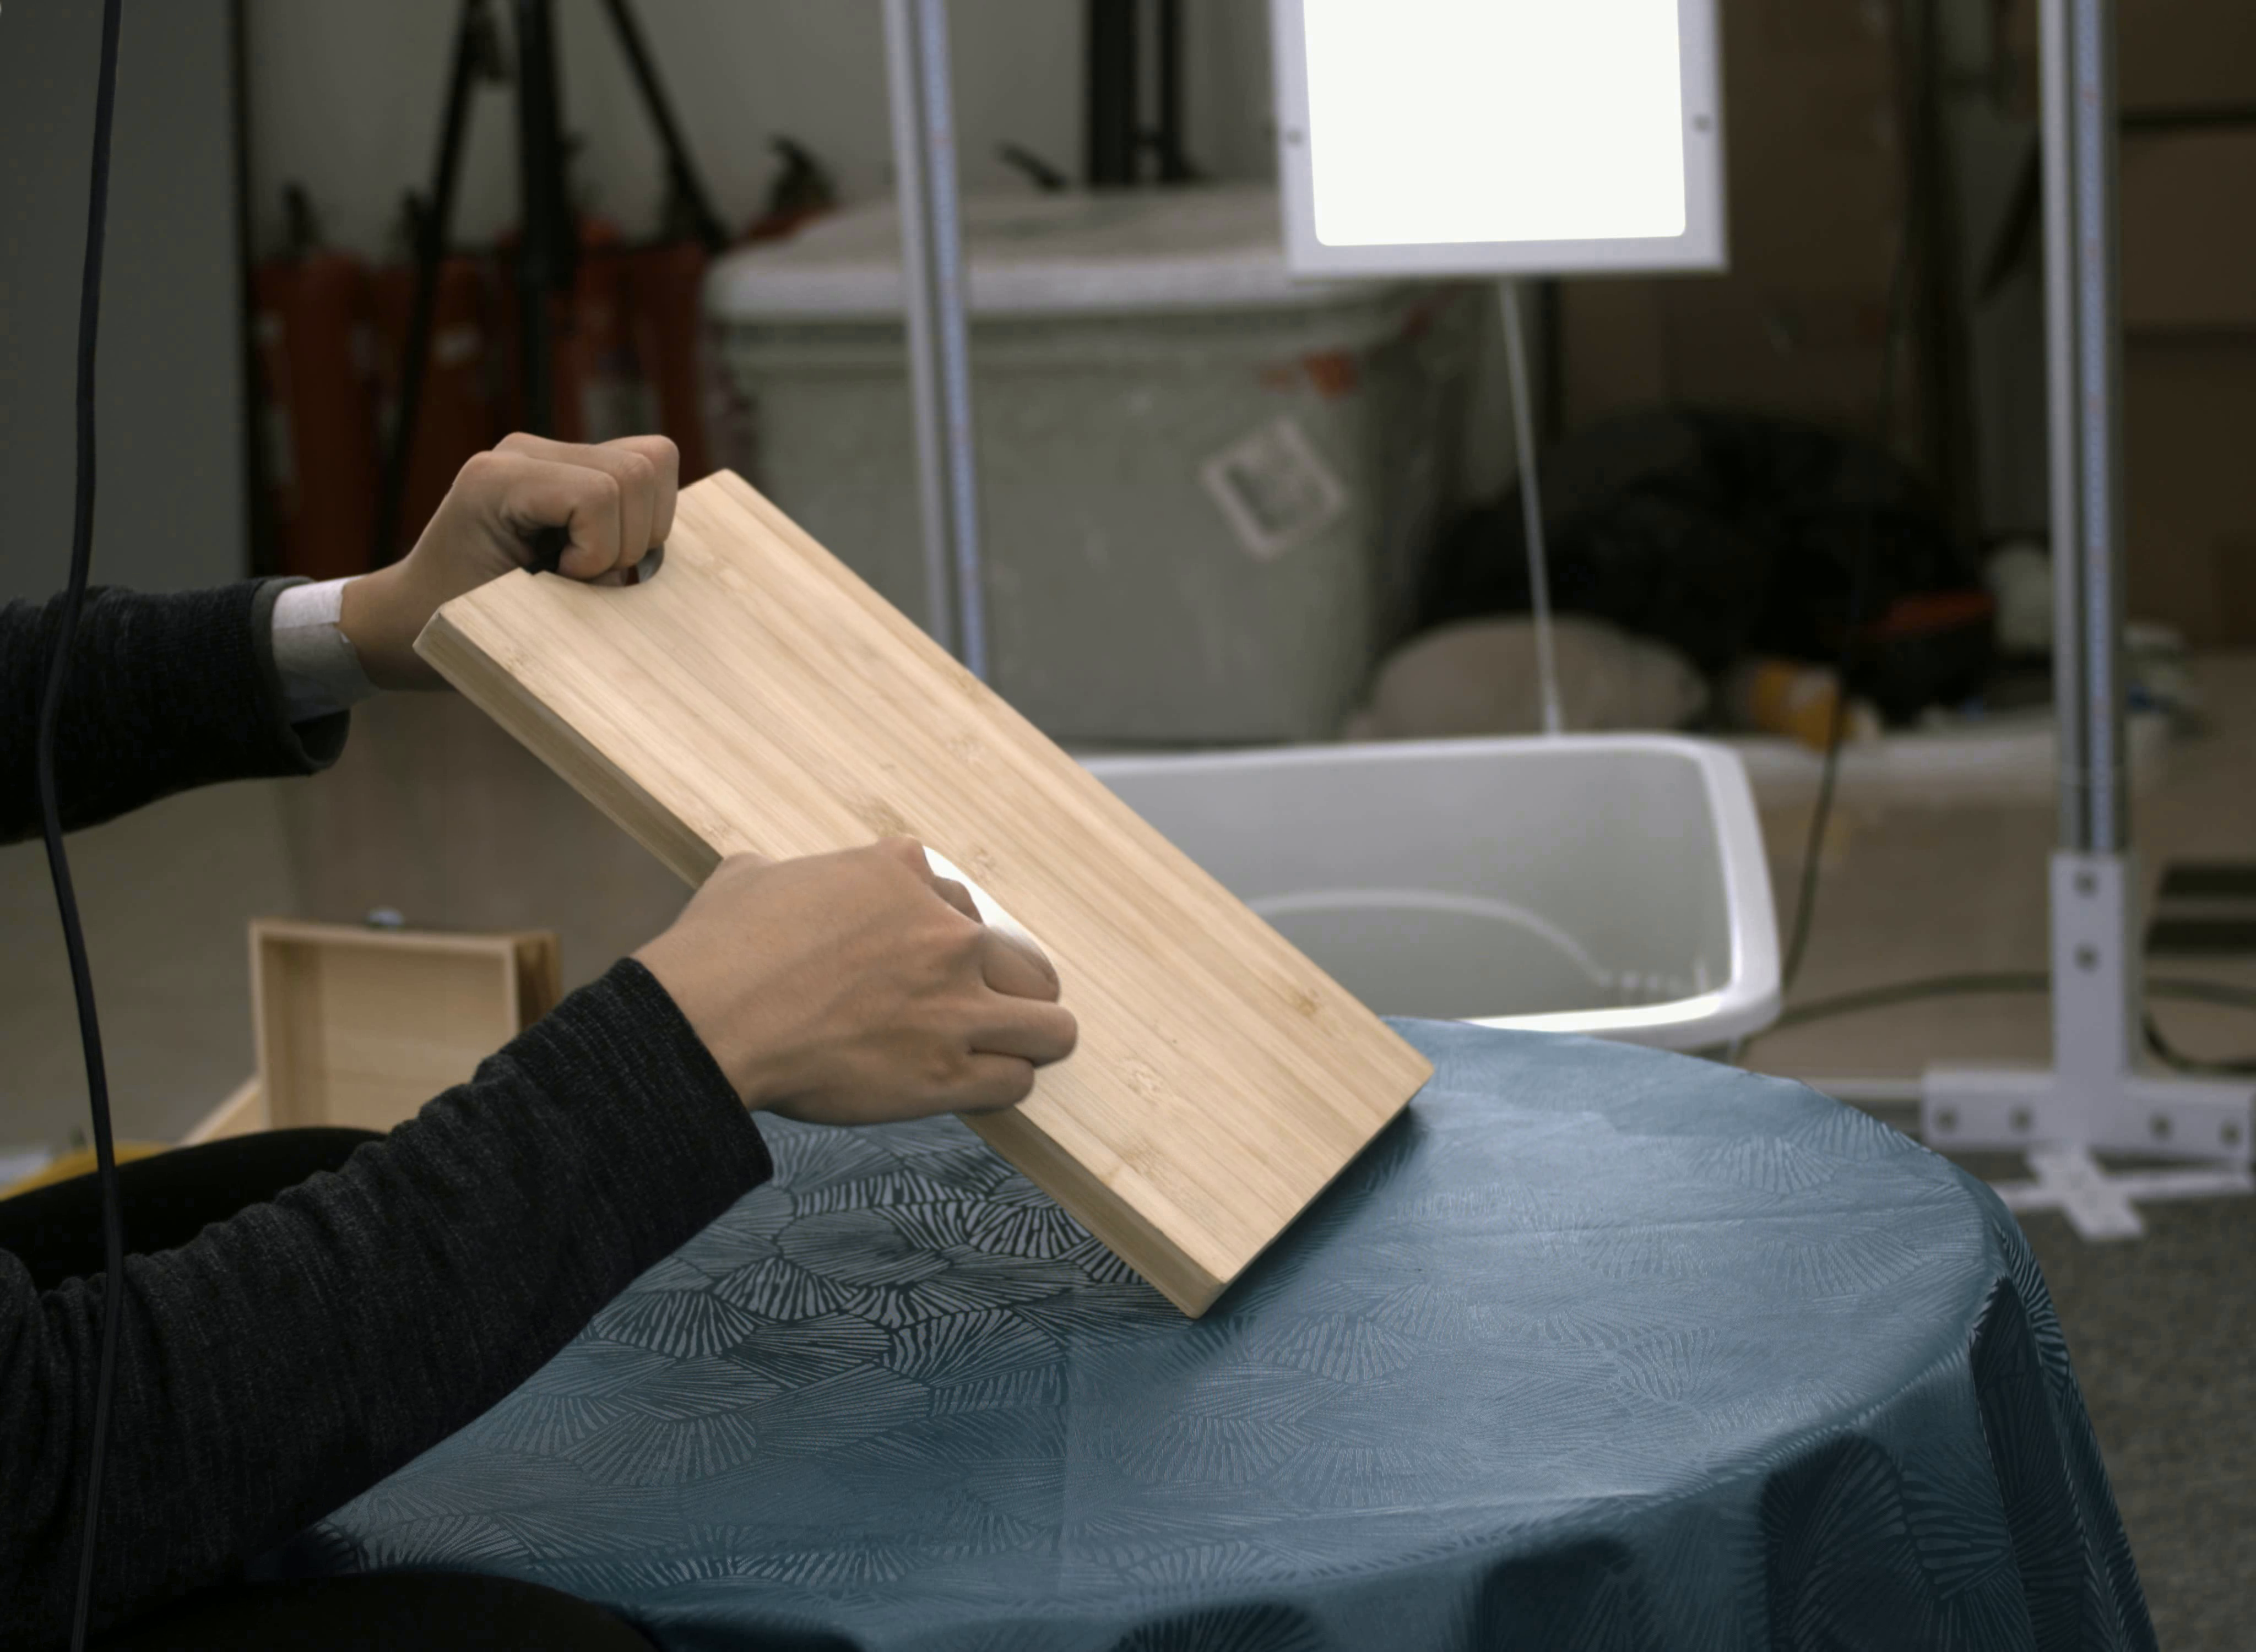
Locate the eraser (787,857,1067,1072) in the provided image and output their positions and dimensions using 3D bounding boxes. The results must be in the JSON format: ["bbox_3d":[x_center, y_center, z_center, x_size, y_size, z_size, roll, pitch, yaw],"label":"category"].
[{"bbox_3d":[-0.063,0.042,1.758,0.064,0.035,0.129,40,15,10],"label":"eraser"}]

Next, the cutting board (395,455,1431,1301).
[{"bbox_3d":[-0.067,0.011,1.888,0.350,0.024,0.246,40,24,7],"label":"cutting board"}]
